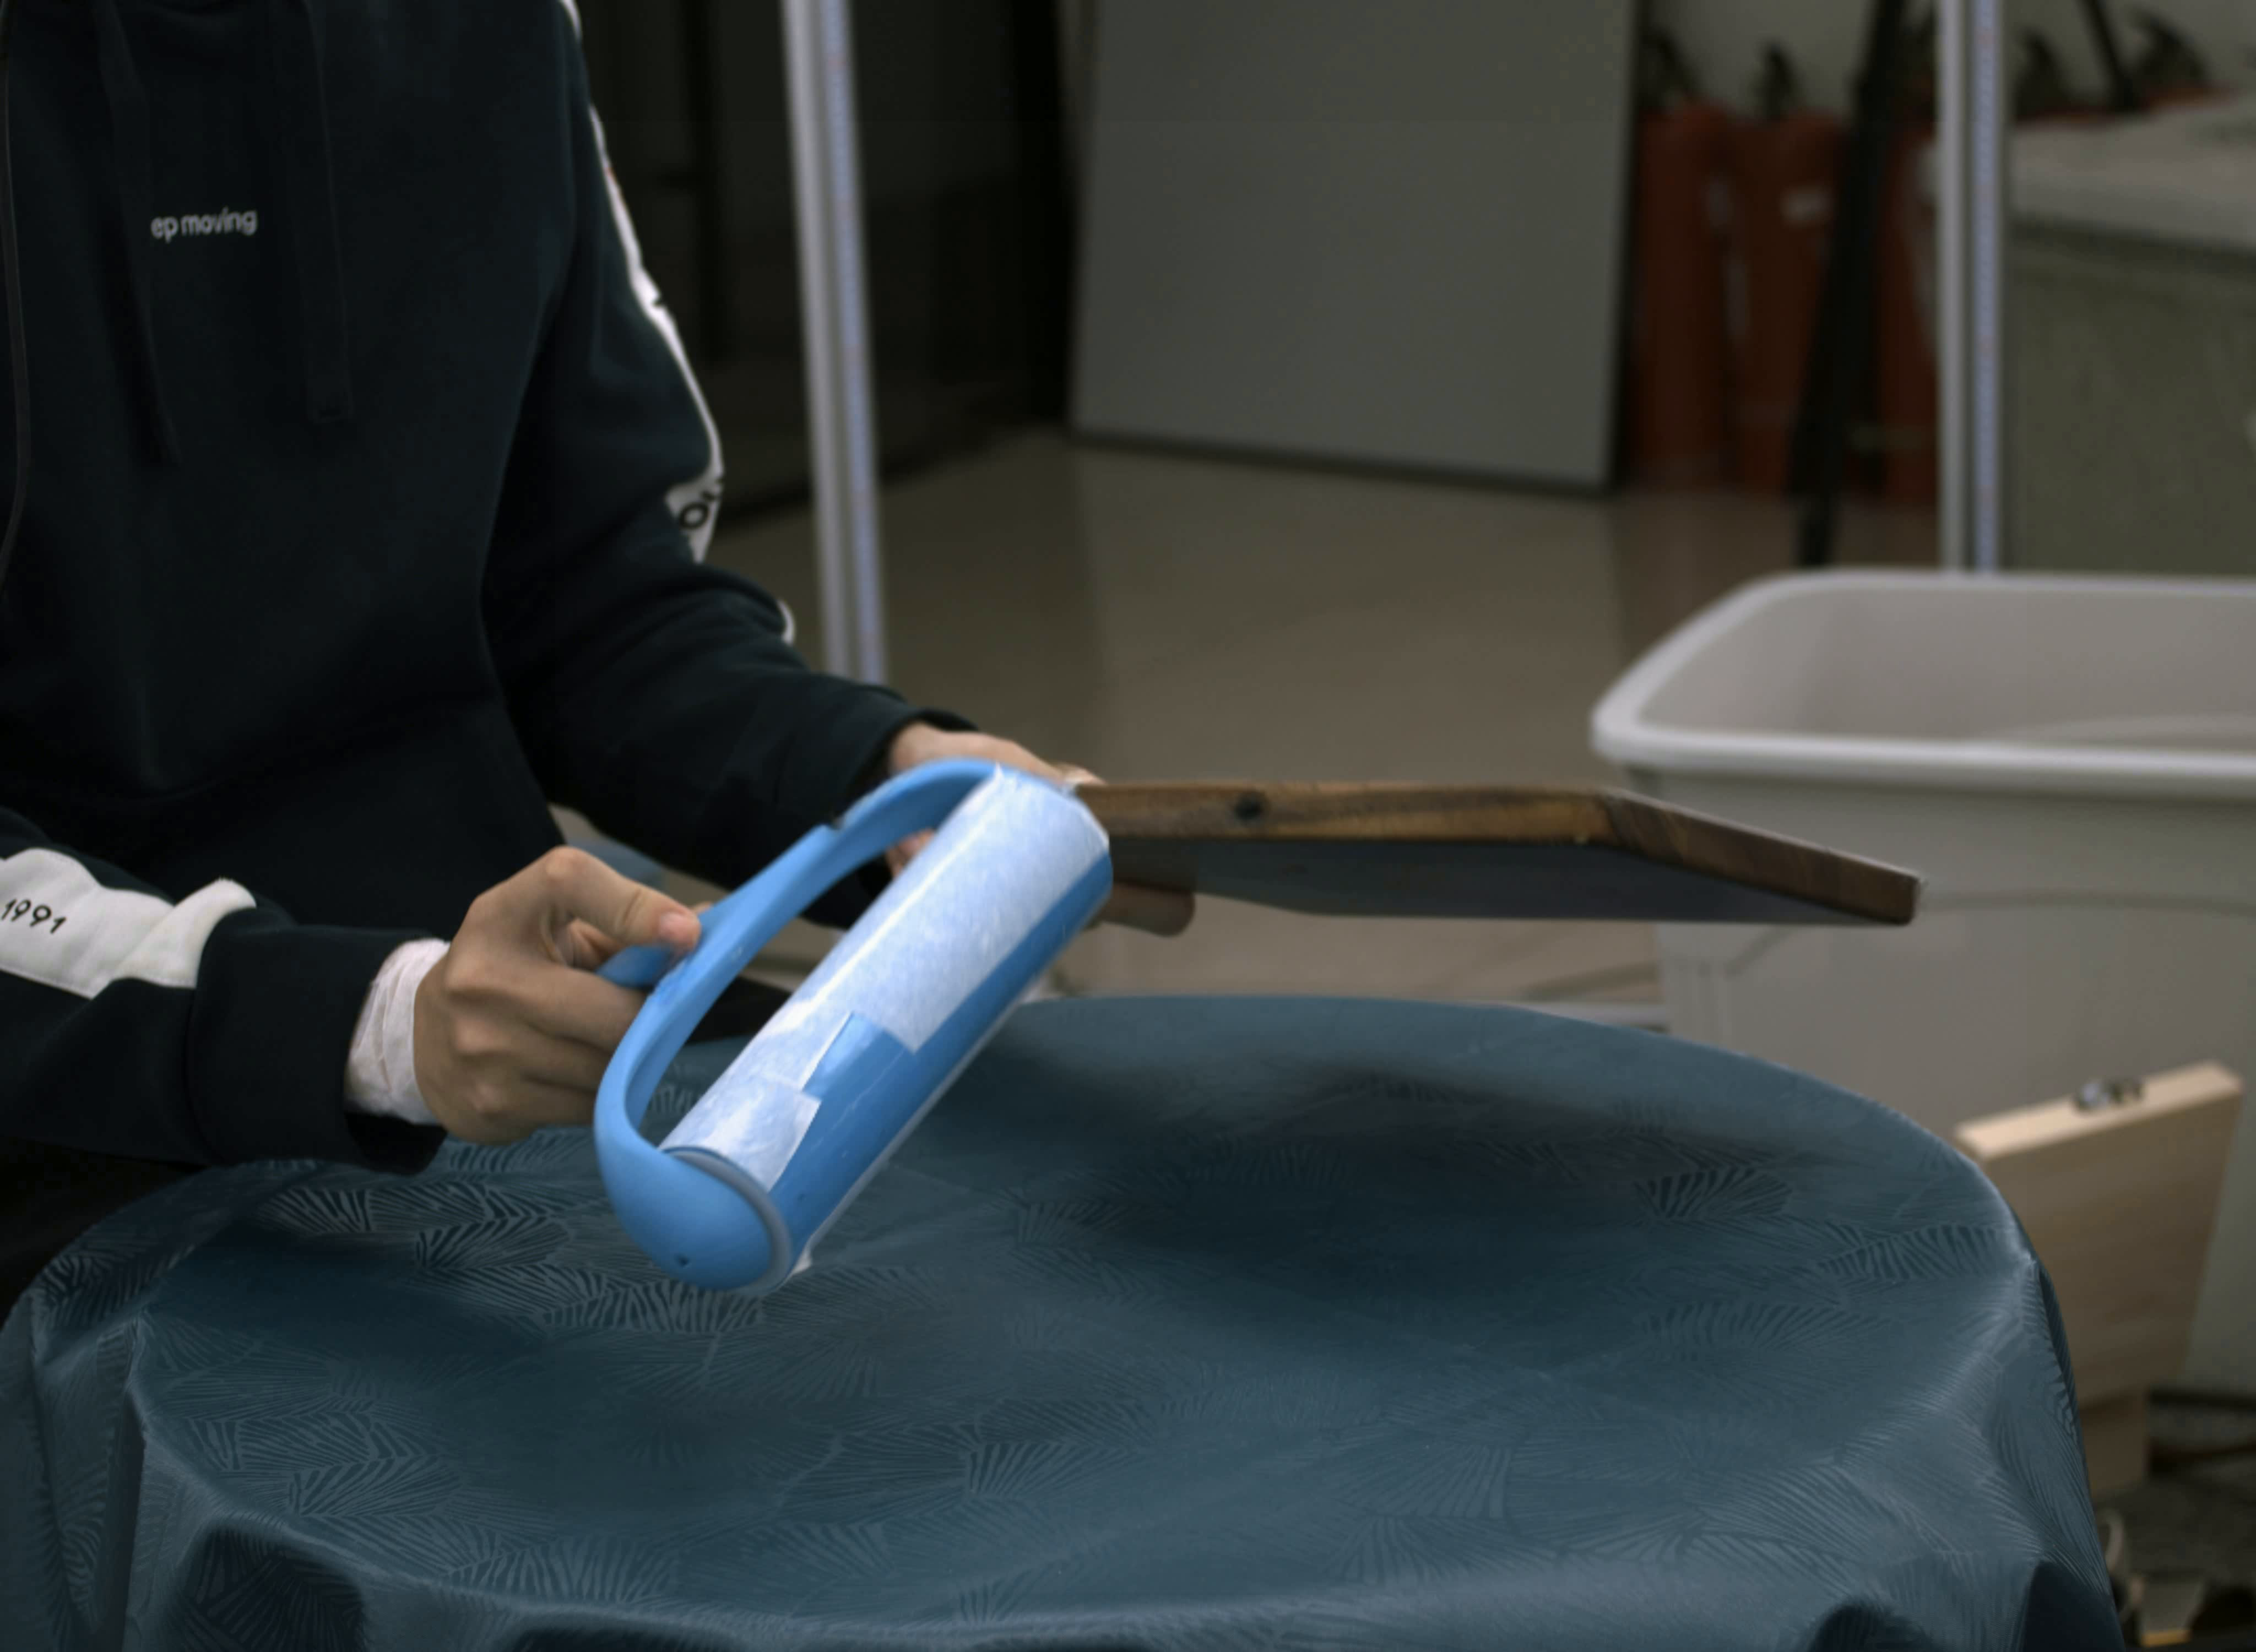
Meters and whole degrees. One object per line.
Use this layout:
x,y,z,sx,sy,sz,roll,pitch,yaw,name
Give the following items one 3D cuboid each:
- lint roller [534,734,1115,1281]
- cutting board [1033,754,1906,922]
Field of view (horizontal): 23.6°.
-0.119,0.056,1.628,0.181,0.068,0.227,-5,34,34,lint roller
0.063,0.006,1.790,0.355,0.023,0.197,-1,-11,39,cutting board
